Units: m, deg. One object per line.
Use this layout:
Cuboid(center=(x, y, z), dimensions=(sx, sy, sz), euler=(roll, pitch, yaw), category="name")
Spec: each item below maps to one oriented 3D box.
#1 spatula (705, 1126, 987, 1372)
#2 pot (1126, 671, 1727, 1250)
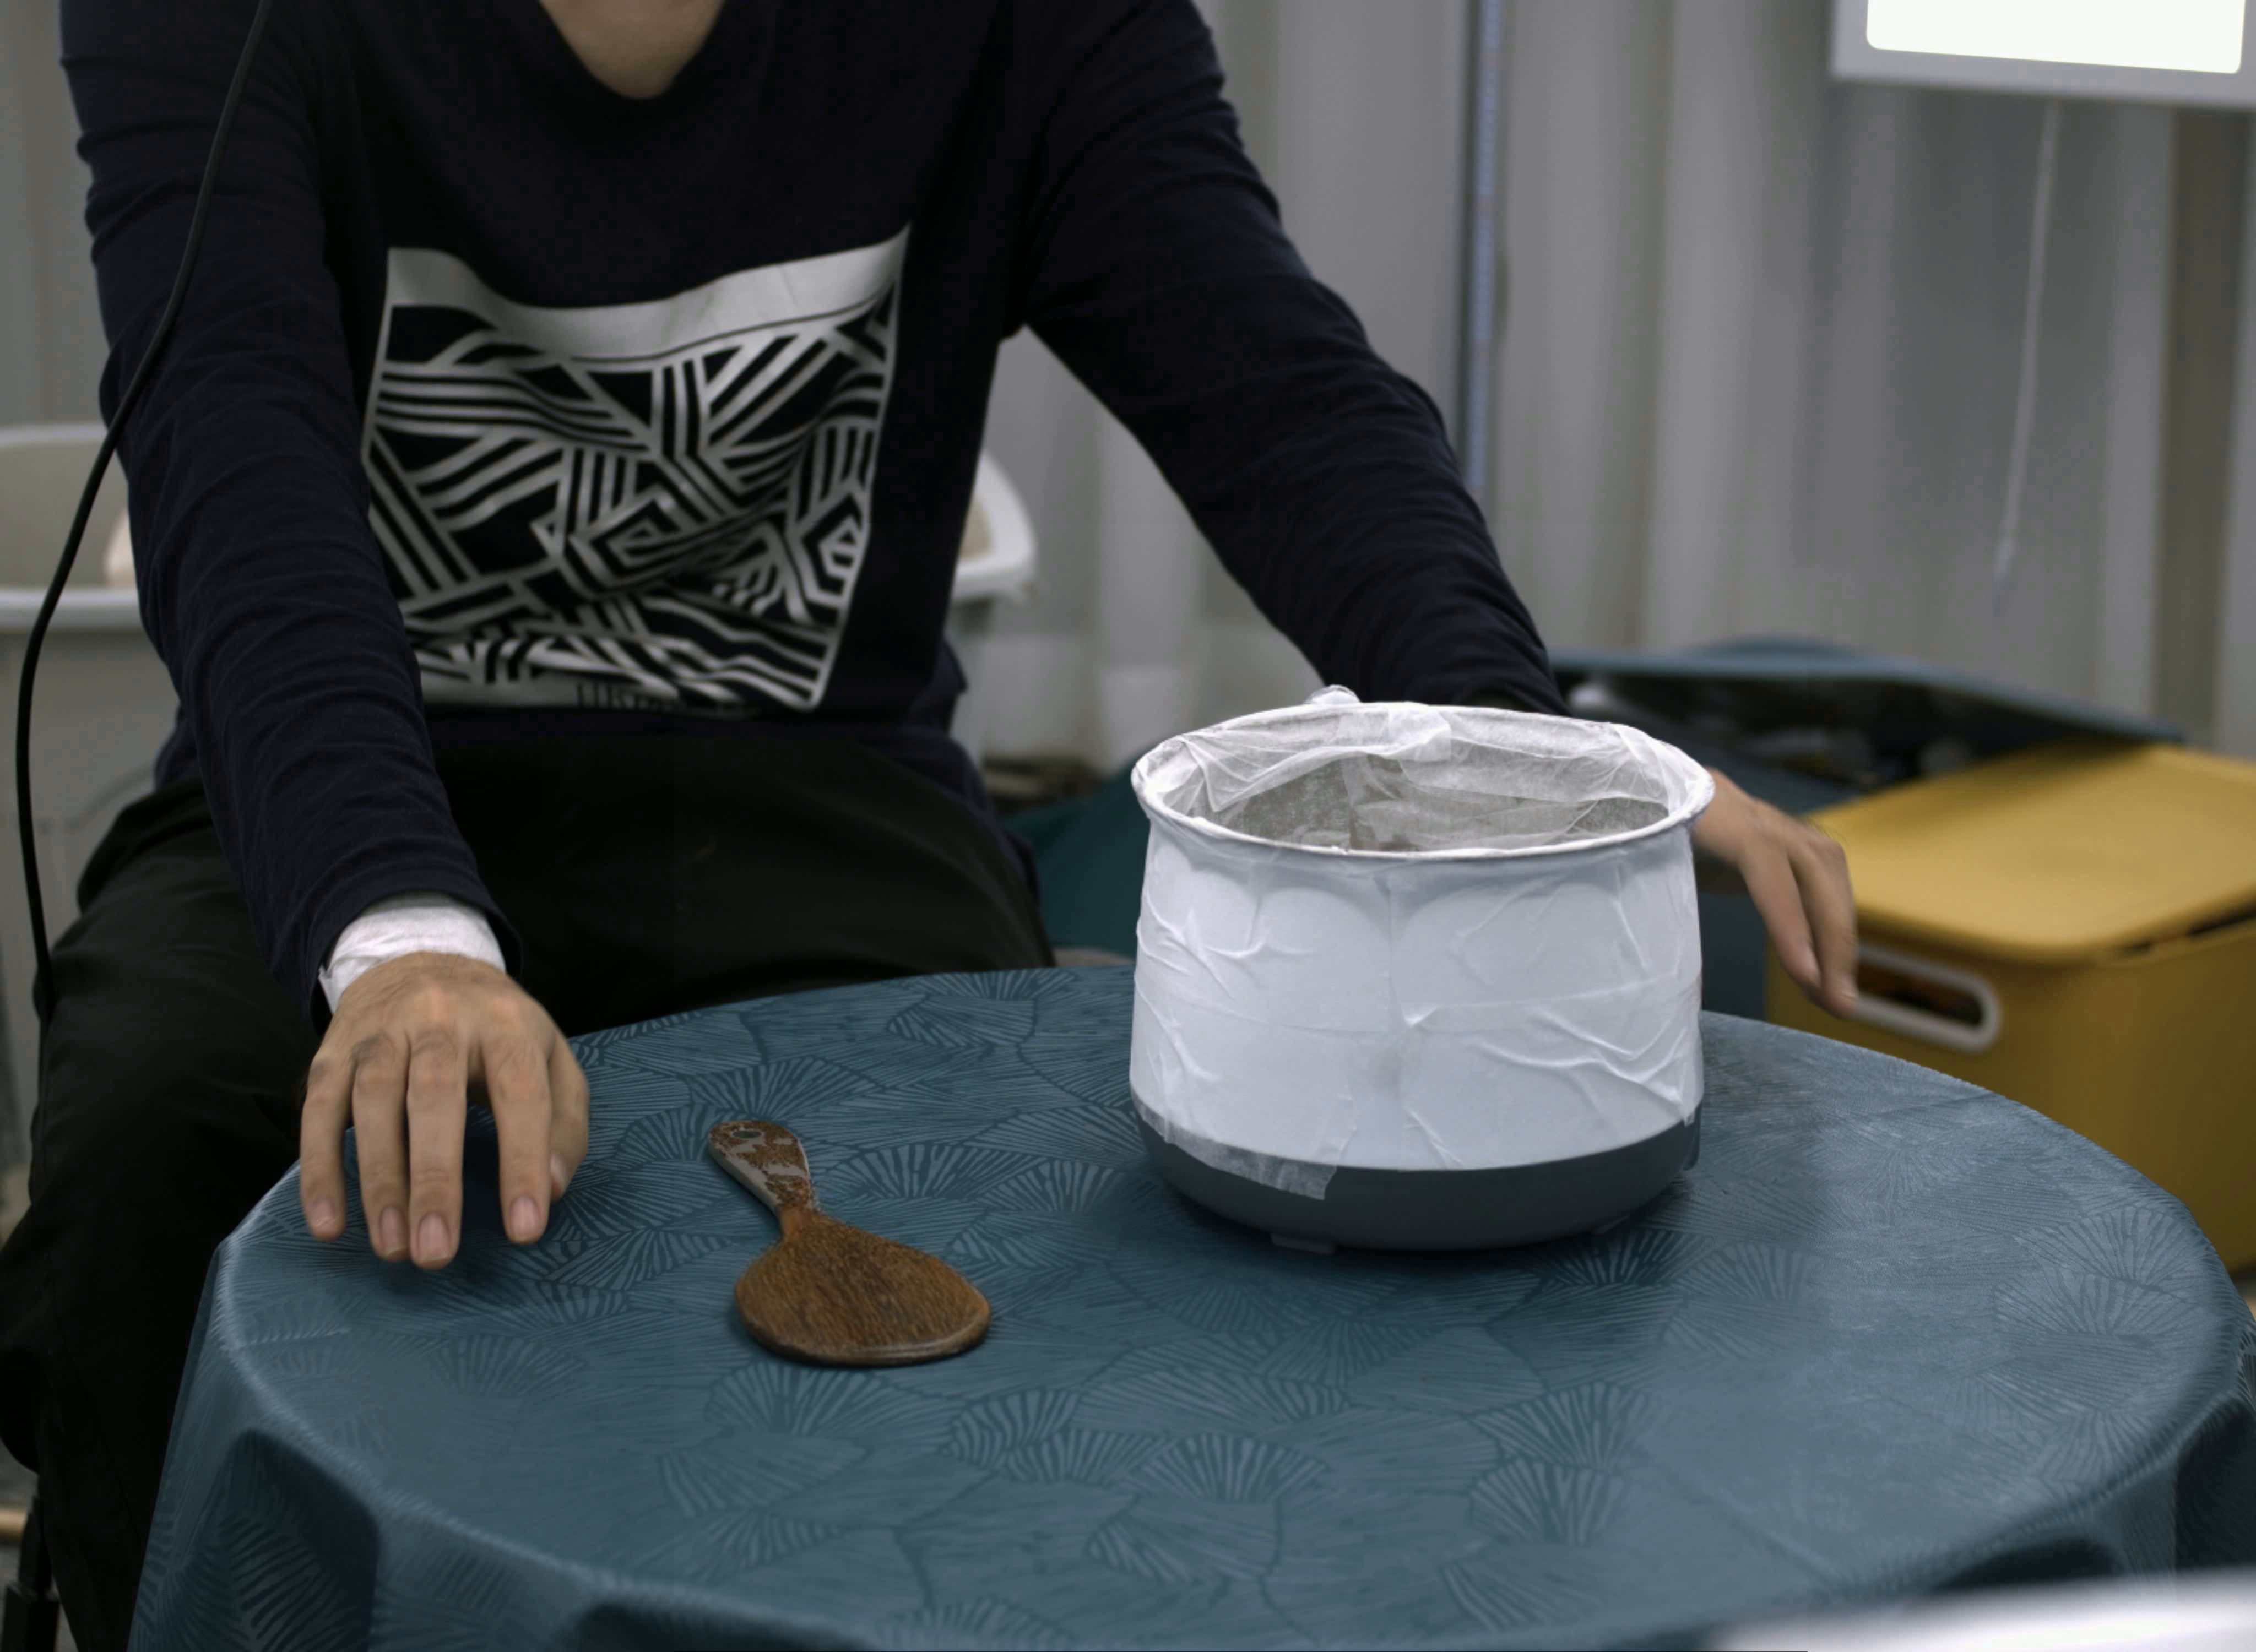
Cuboid(center=(-0.095, 0.123, 1.574), dimensions=(0.072, 0.009, 0.213), euler=(-1, 14, -15), category="spatula")
Cuboid(center=(0.082, 0.036, 1.636), dimensions=(0.179, 0.138, 0.231), euler=(-1, 17, -16), category="pot")
